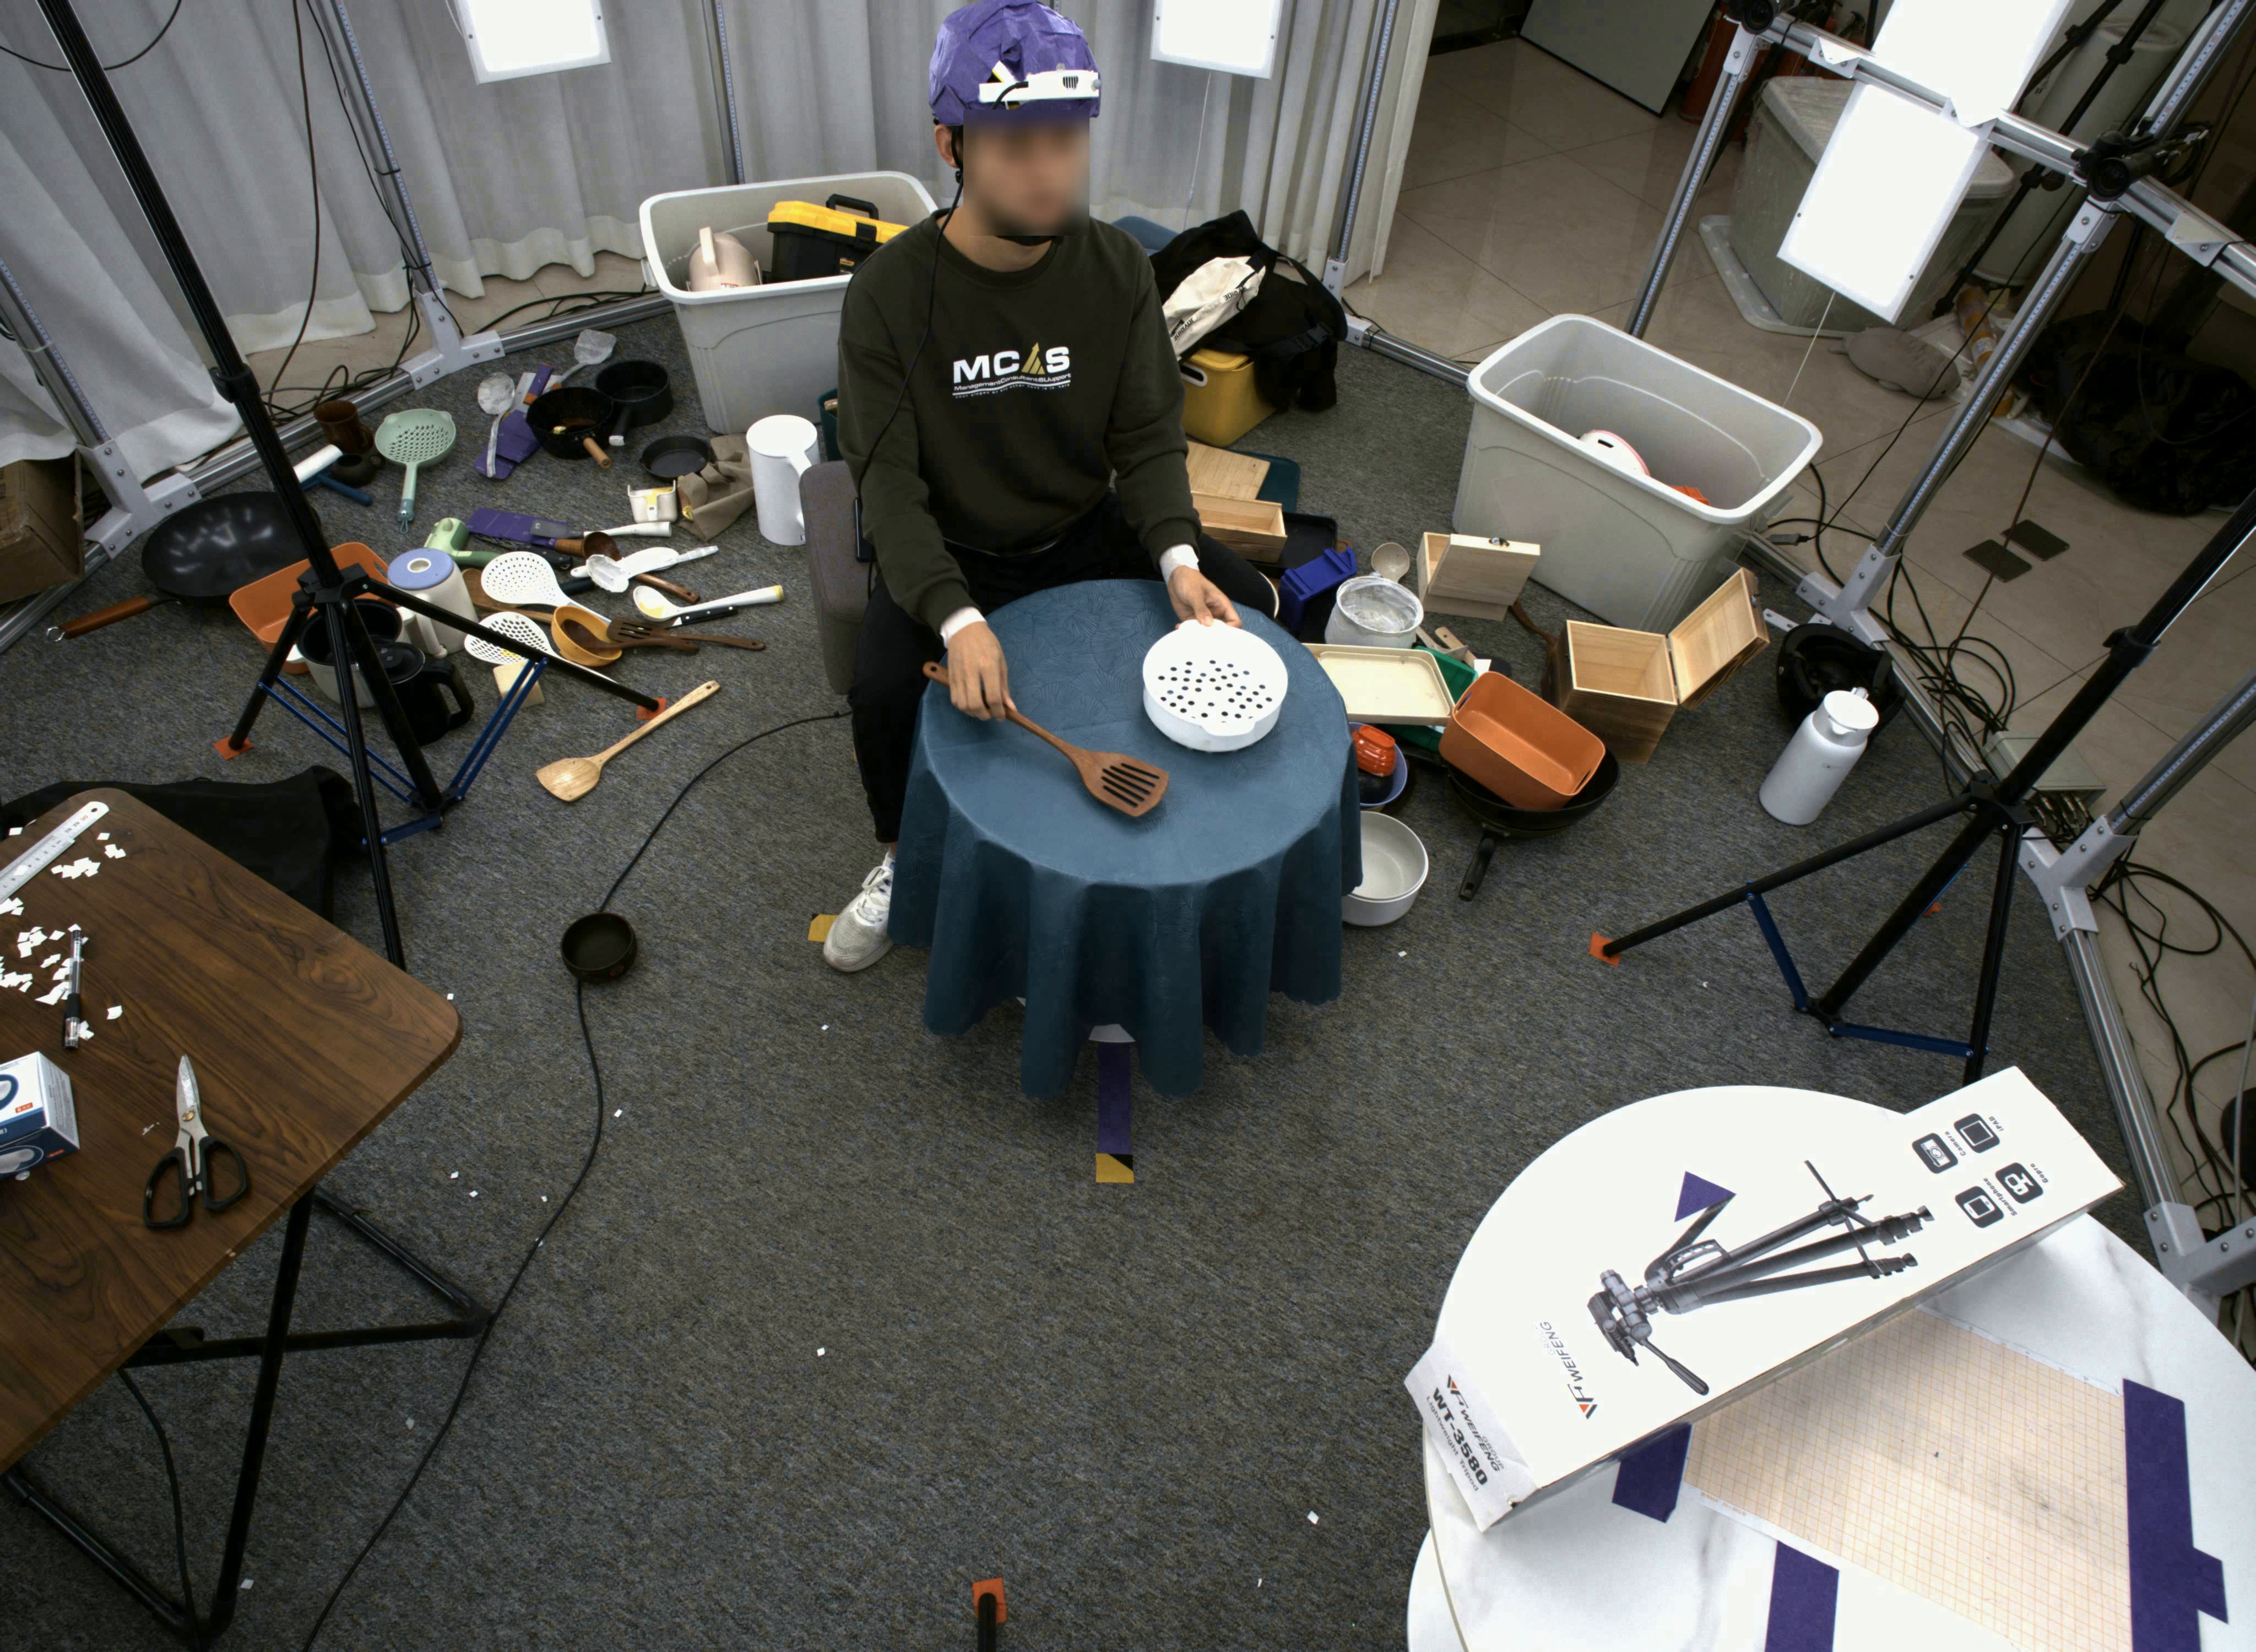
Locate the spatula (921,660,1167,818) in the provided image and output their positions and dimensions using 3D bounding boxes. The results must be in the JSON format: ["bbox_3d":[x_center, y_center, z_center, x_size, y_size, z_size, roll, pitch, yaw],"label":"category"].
[{"bbox_3d":[-0.123,-0.127,1.724,0.388,0.023,0.087,31,63,16],"label":"spatula"}]

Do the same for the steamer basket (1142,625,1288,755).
[{"bbox_3d":[0.119,-0.187,1.796,0.201,0.067,0.236,-3,47,-9],"label":"steamer basket"}]
